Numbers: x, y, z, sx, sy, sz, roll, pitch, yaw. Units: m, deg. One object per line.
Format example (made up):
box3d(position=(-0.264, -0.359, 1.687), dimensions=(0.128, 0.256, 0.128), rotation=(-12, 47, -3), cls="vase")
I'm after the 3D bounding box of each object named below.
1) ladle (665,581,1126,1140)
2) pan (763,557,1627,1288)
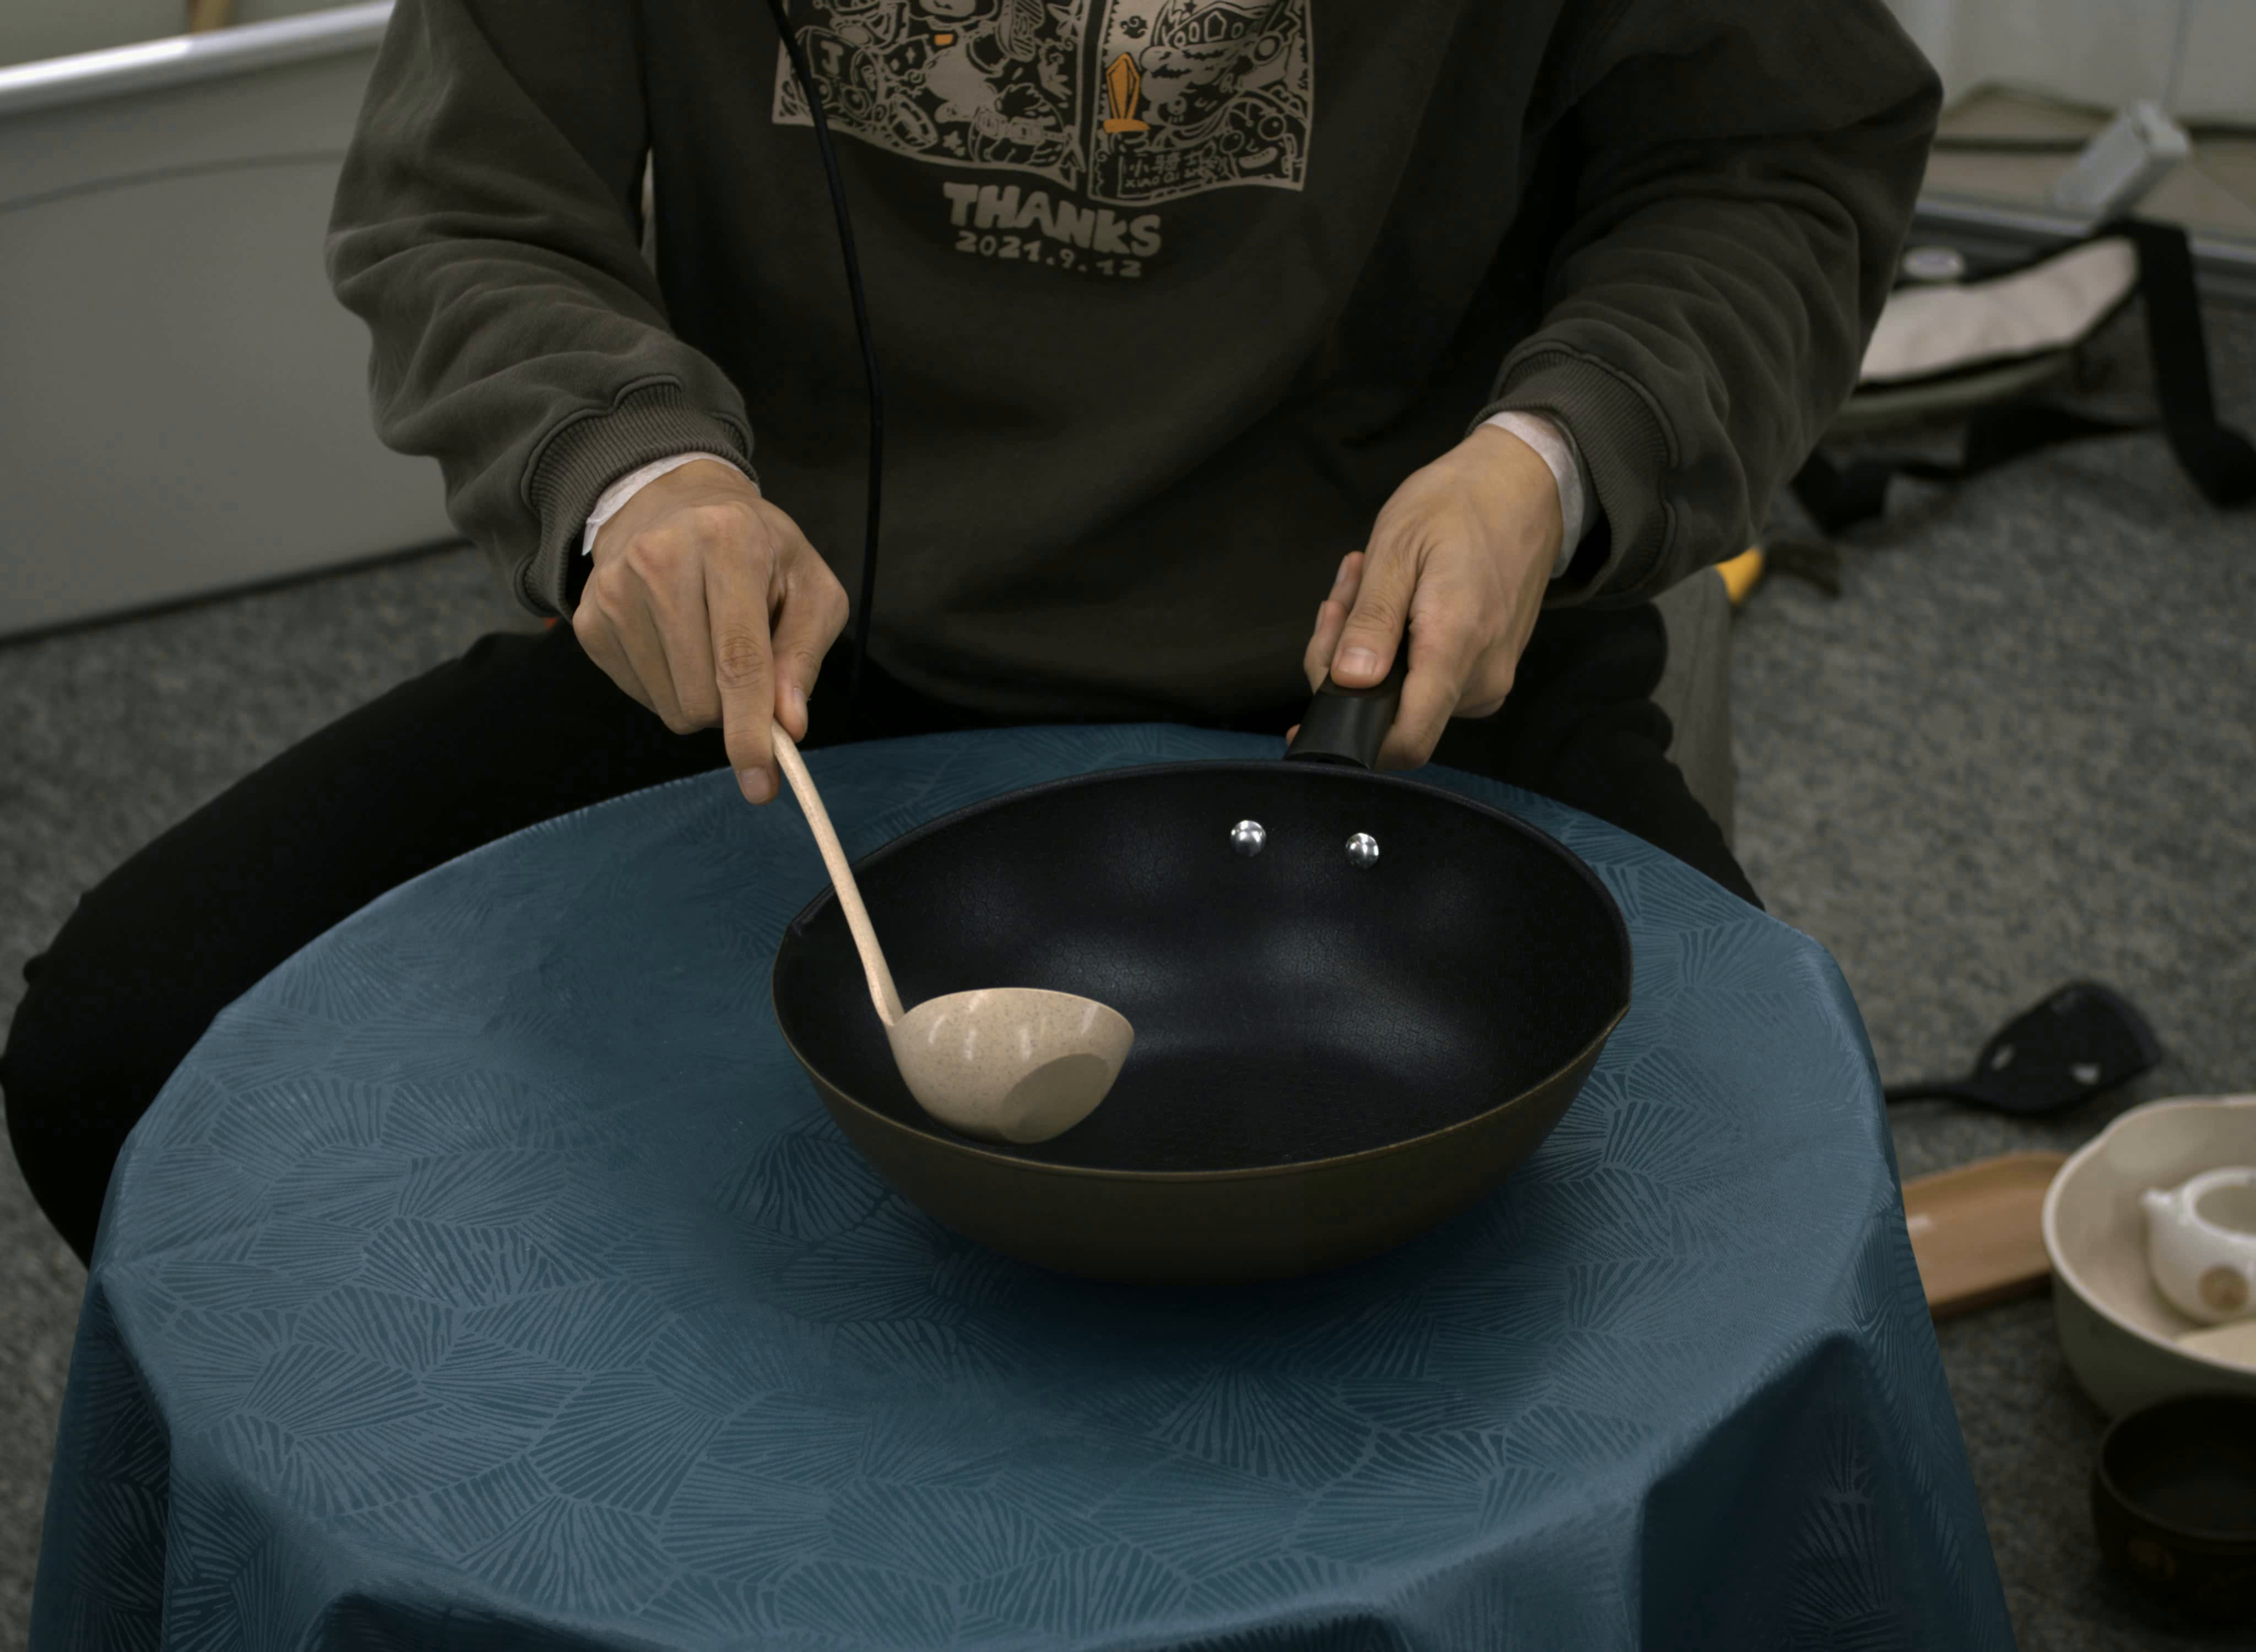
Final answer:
box3d(position=(-0.077, -0.006, 1.819), dimensions=(0.072, 0.072, 0.258), rotation=(-37, 56, 14), cls="ladle")
box3d(position=(0.050, 0.034, 1.933), dimensions=(0.286, 0.086, 0.471), rotation=(5, 28, 16), cls="pan")
